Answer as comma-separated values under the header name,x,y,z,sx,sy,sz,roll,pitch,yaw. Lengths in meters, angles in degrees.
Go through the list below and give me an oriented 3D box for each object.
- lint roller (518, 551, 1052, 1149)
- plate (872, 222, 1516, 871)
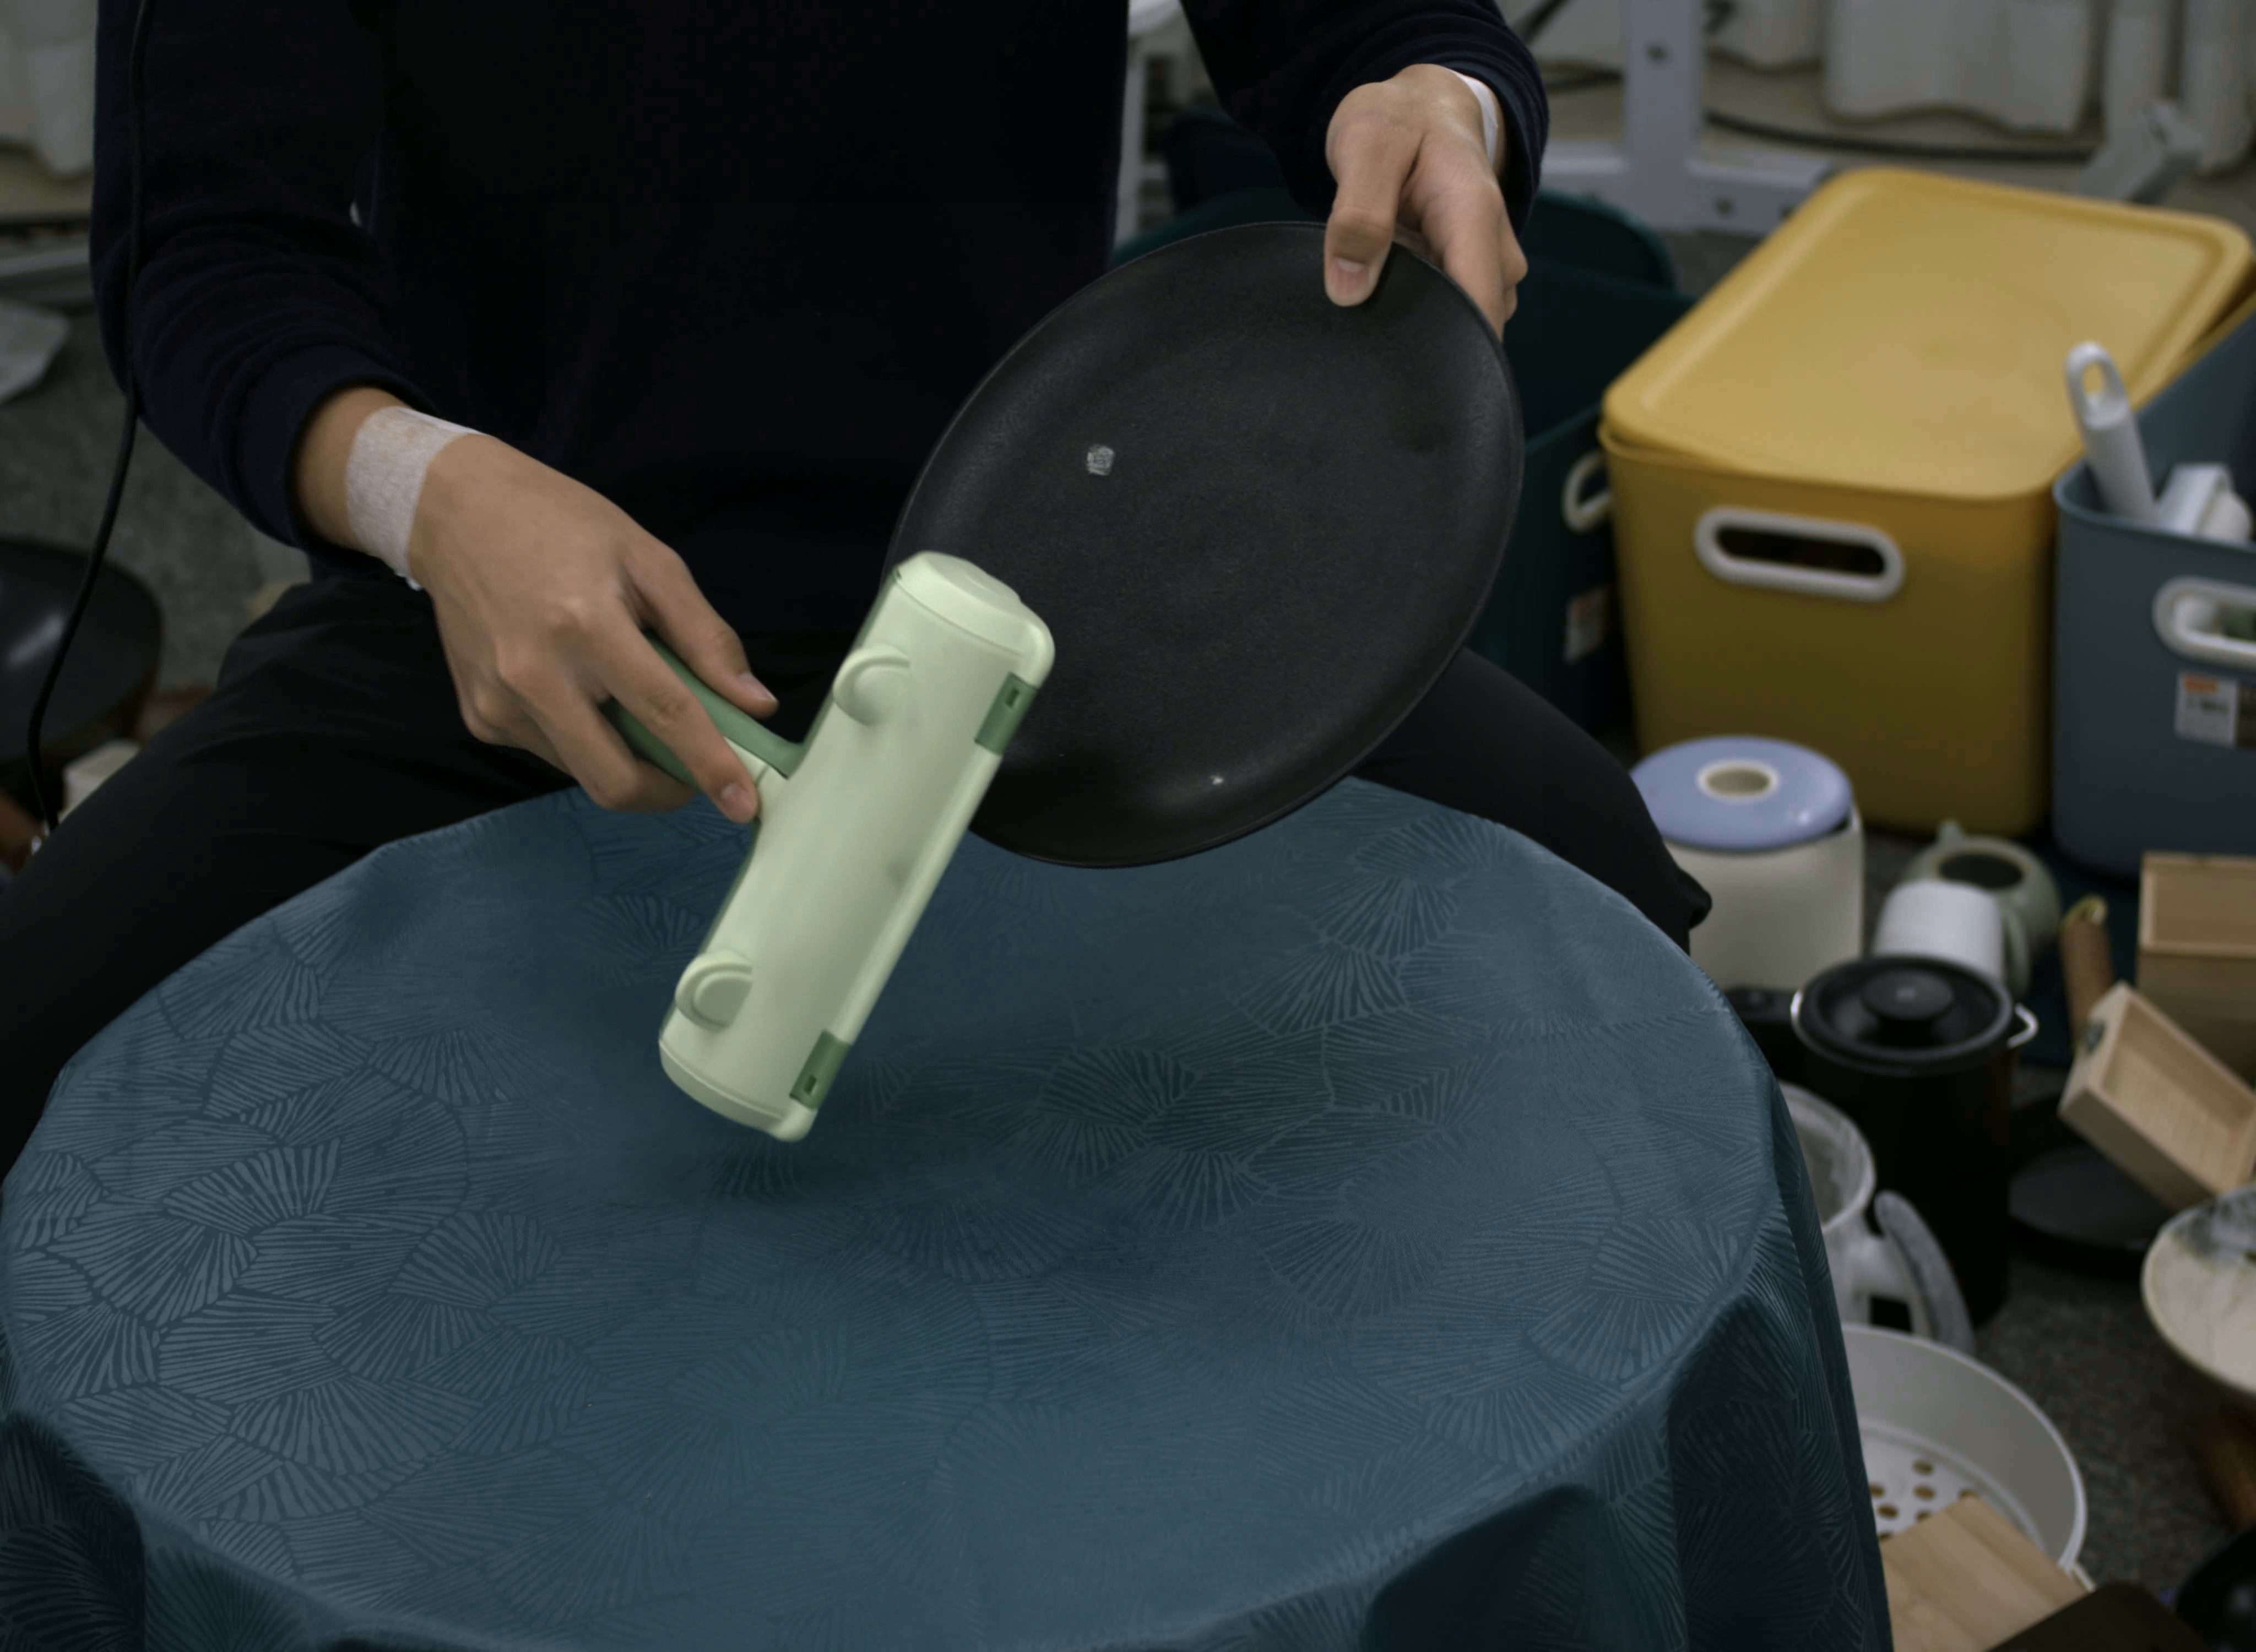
name,x,y,z,sx,sy,sz,roll,pitch,yaw
lint roller,-0.139,-0.020,1.850,0.183,0.197,0.082,31,12,16
plate,0.023,-0.091,1.867,0.241,0.023,0.249,-16,55,24
